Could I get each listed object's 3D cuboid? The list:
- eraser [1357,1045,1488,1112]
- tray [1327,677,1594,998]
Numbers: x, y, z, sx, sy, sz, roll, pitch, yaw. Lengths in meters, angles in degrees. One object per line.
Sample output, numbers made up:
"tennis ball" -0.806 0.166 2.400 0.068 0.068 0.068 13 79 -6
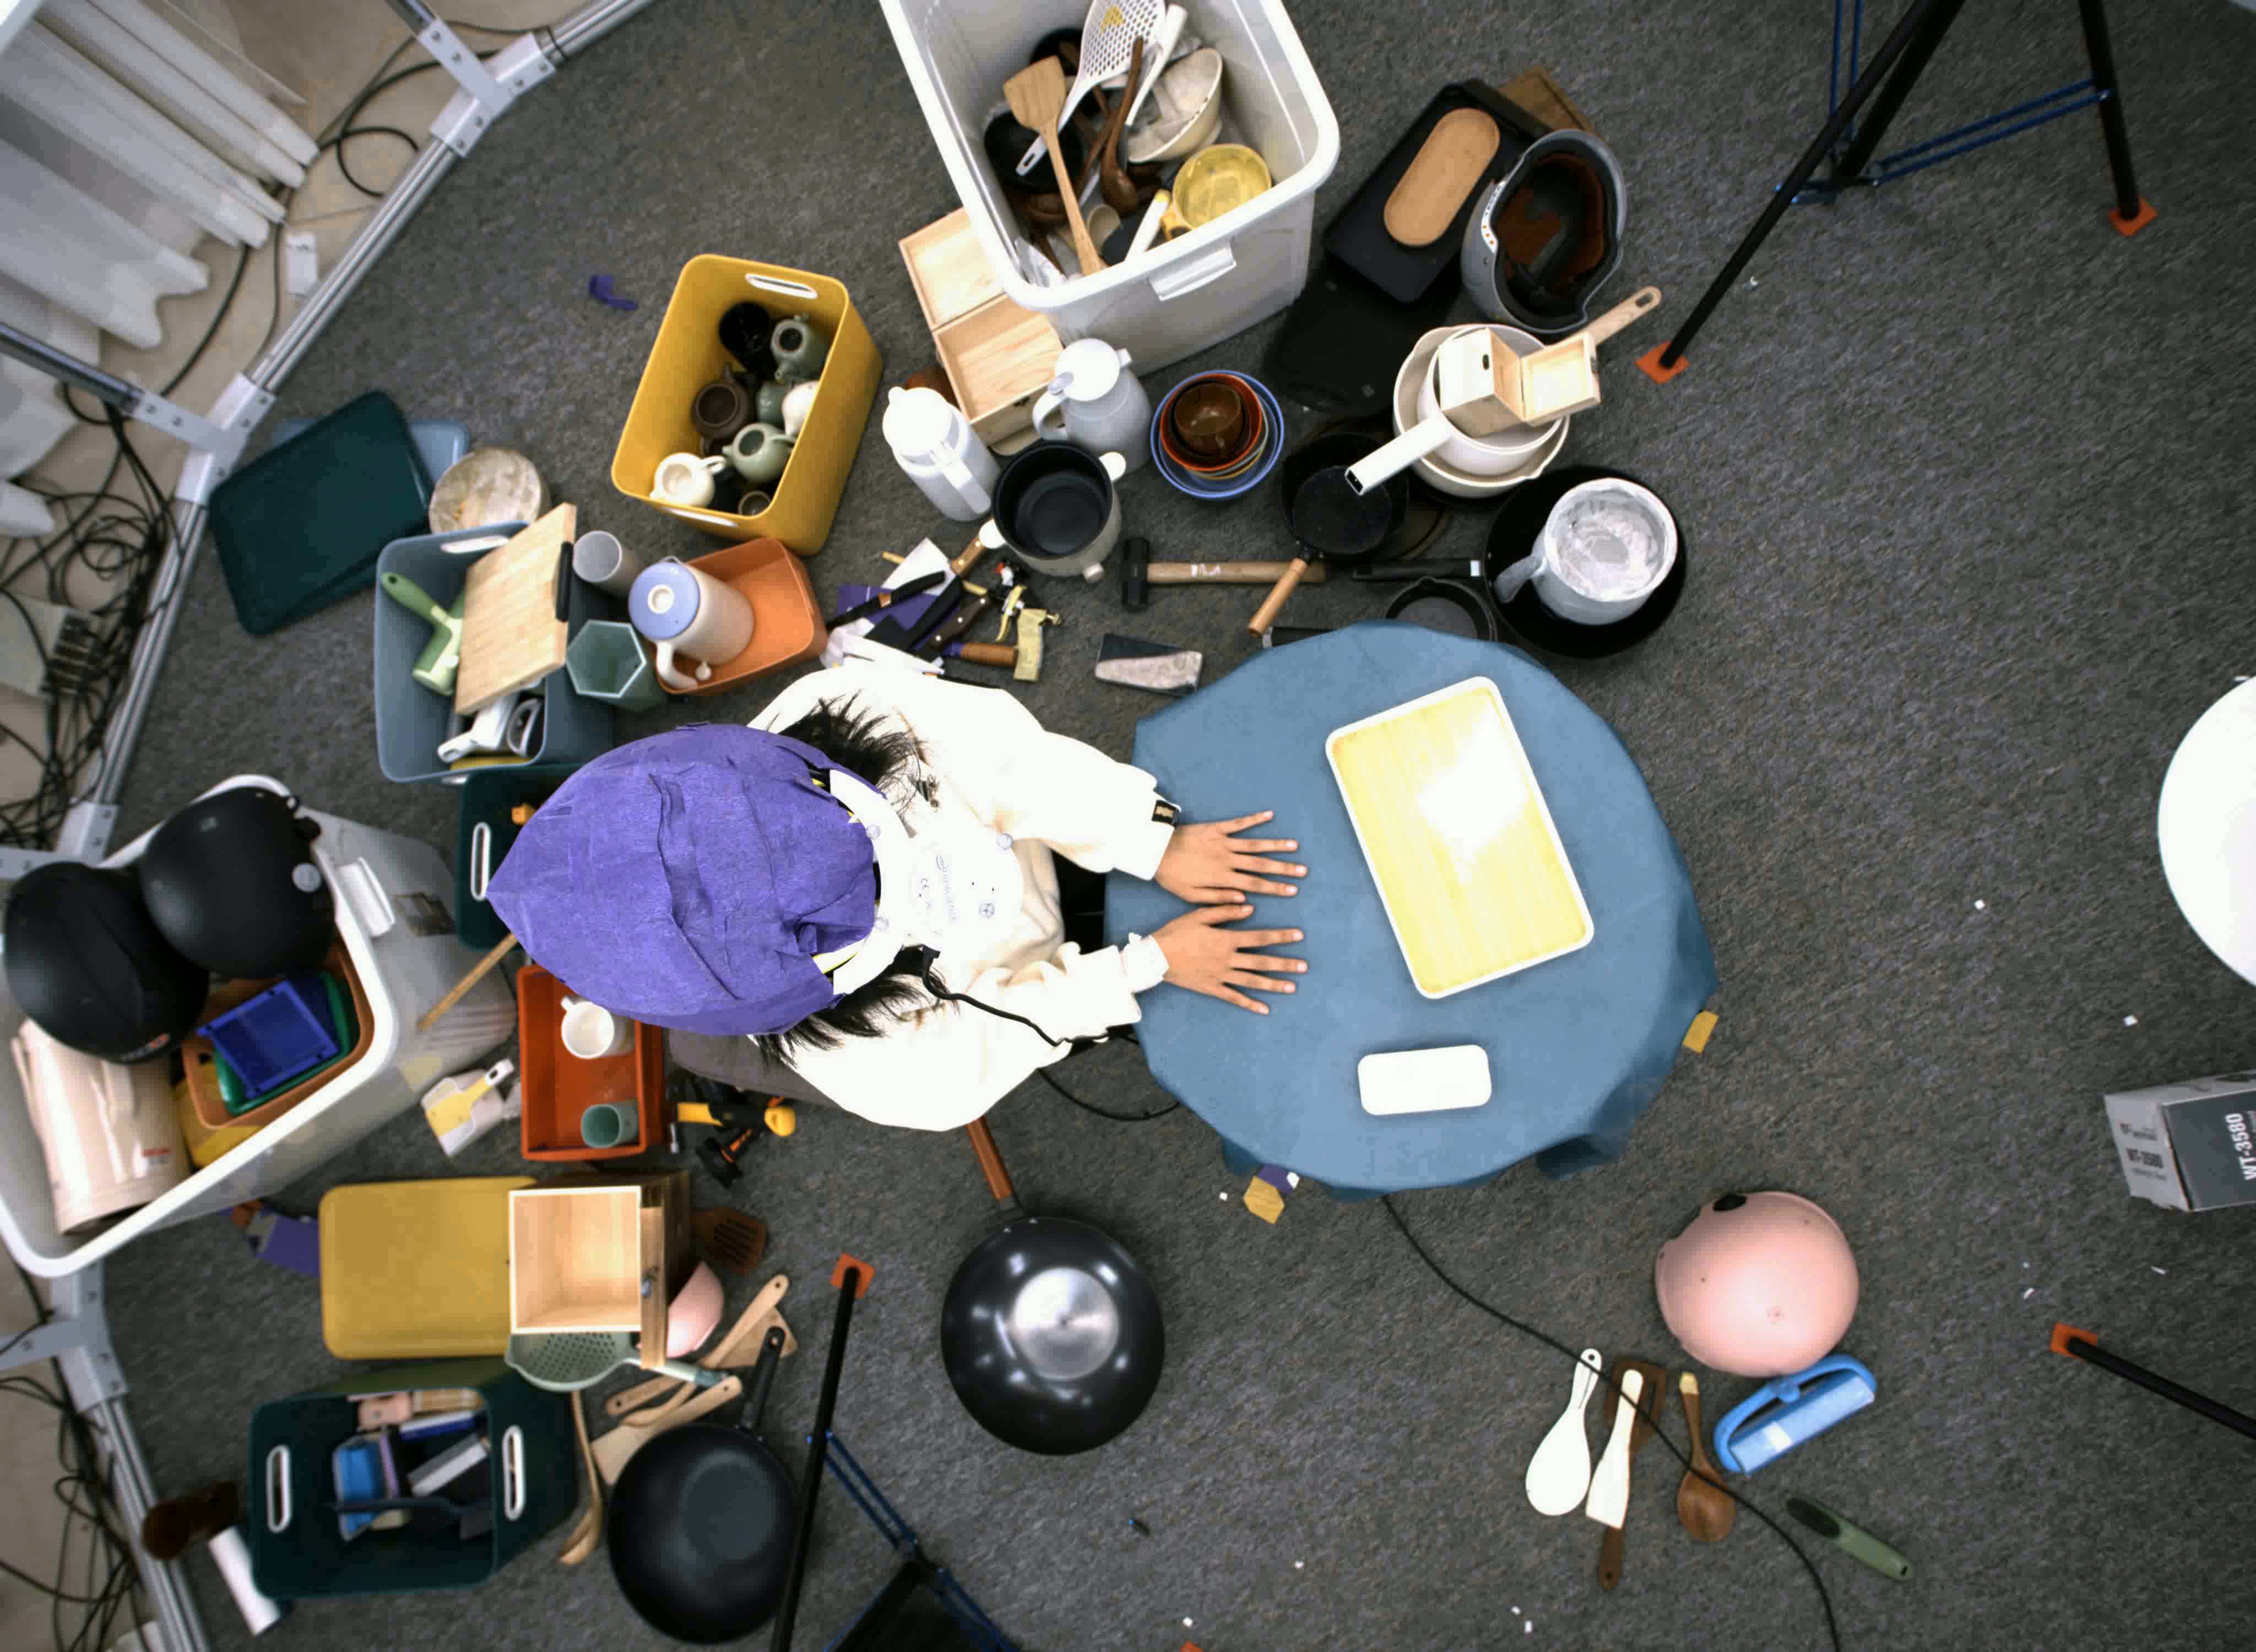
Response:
"eraser" 0.304 0.258 1.428 0.132 0.034 0.063 -6 86 9
"tray" 0.344 0.010 1.436 0.192 0.027 0.298 -20 83 8
